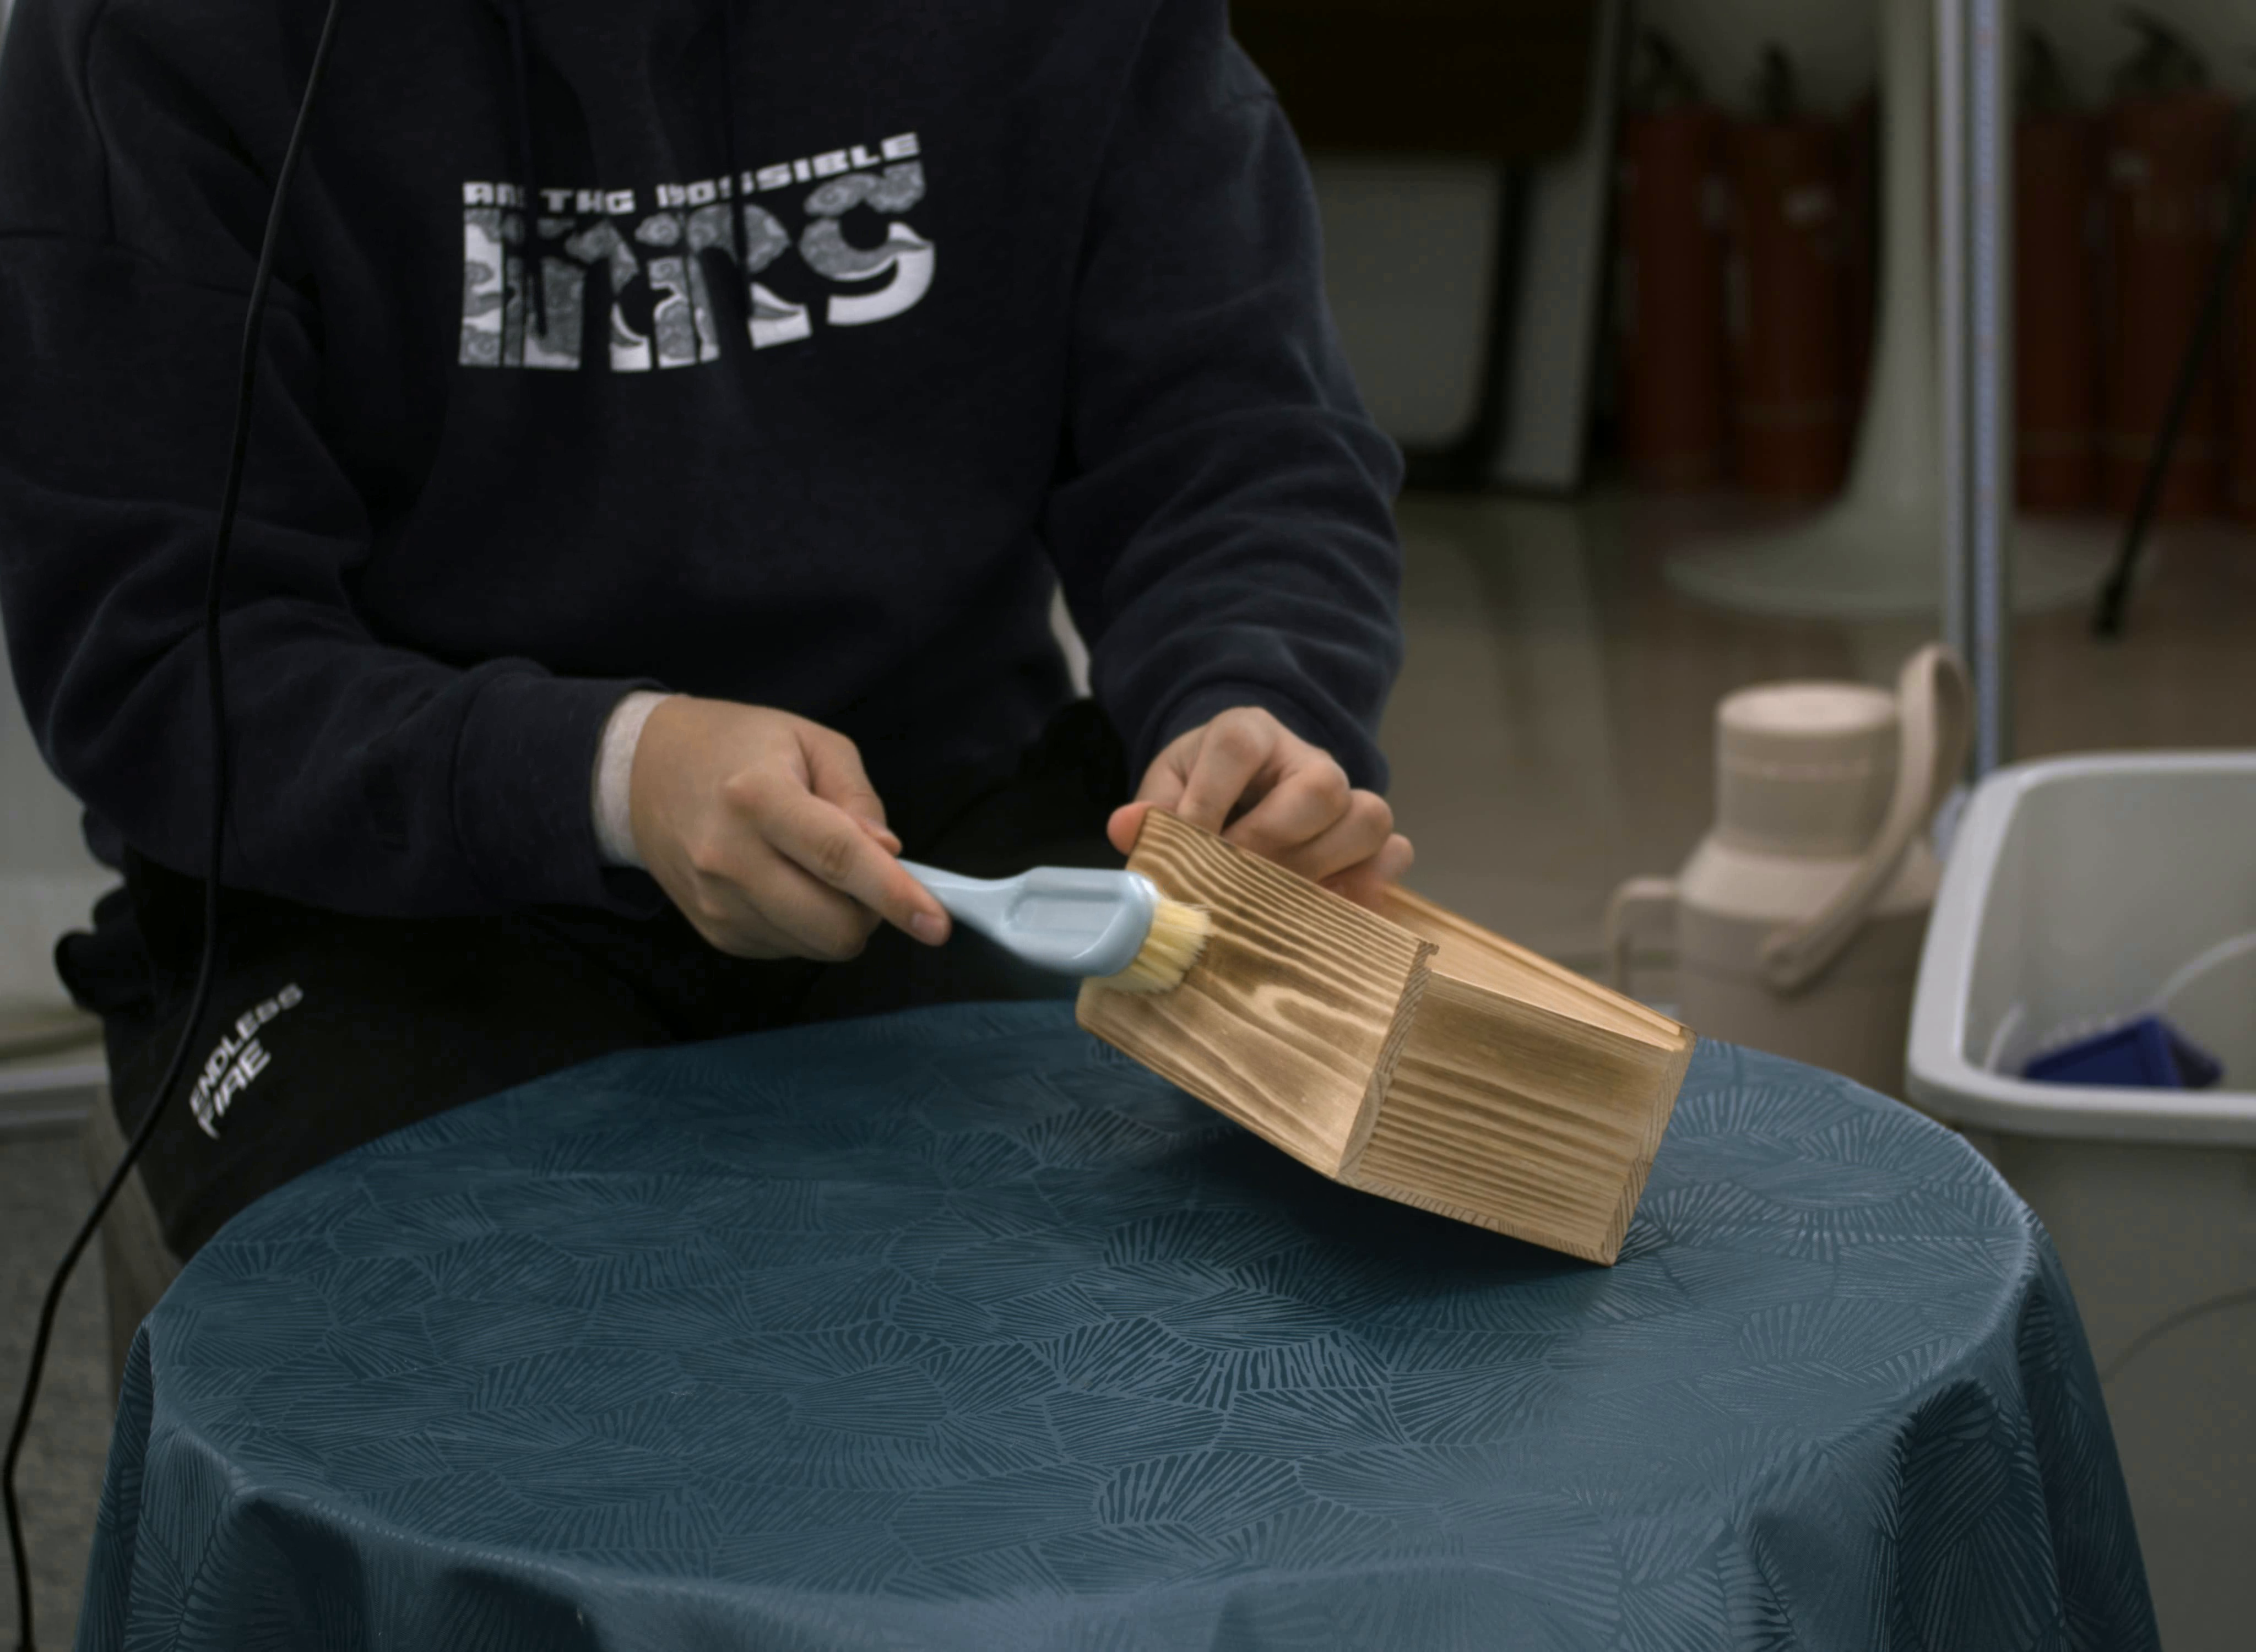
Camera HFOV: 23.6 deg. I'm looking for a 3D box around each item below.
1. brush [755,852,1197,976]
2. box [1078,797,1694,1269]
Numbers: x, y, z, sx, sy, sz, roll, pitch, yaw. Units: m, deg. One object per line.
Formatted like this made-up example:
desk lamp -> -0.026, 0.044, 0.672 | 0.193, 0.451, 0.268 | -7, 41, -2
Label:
brush -> -0.056, 0.028, 1.830 | 0.048, 0.038, 0.231 | 22, -11, -38
box -> 0.079, 0.064, 1.739 | 0.105, 0.081, 0.213 | 18, 4, -25
